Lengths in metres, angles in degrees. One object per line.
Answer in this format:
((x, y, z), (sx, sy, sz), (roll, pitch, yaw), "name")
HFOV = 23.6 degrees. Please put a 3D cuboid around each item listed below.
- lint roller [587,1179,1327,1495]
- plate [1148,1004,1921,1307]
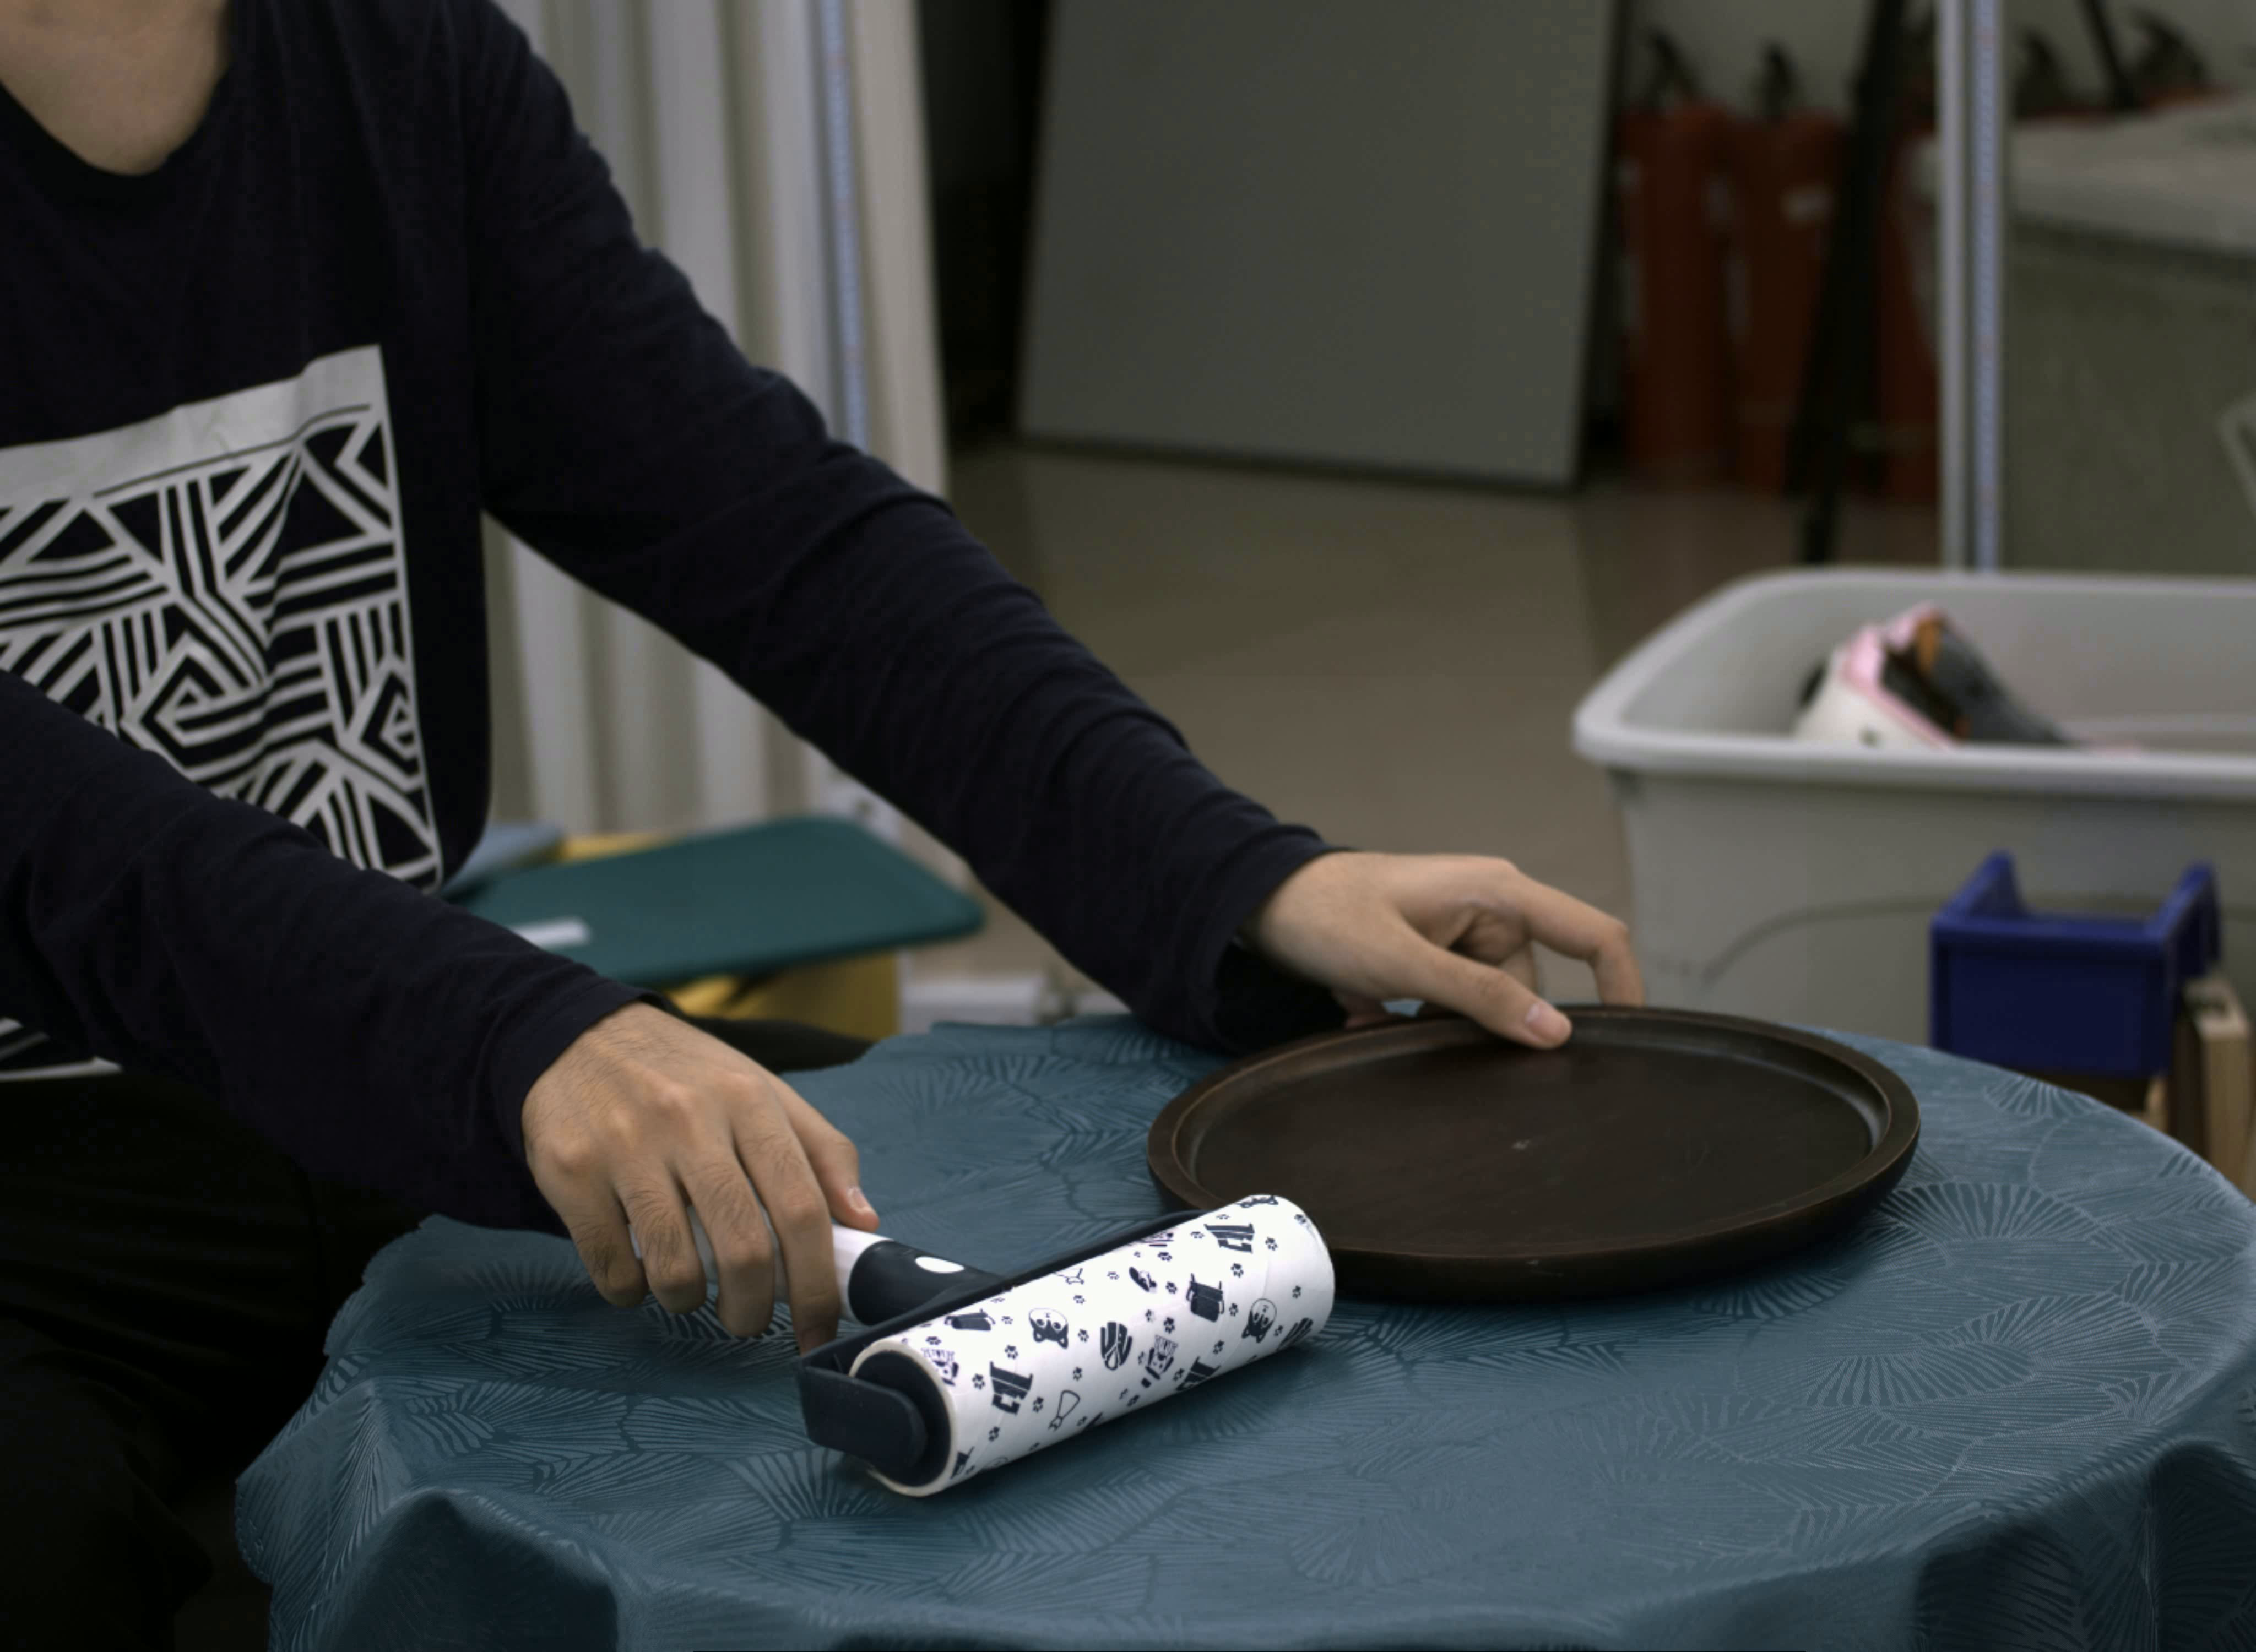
((-0.082, 0.136, 1.632), (0.249, 0.051, 0.173), (10, 20, 44), "lint roller")
((0.131, 0.105, 1.744), (0.251, 0.029, 0.255), (-6, 14, 0), "plate")
